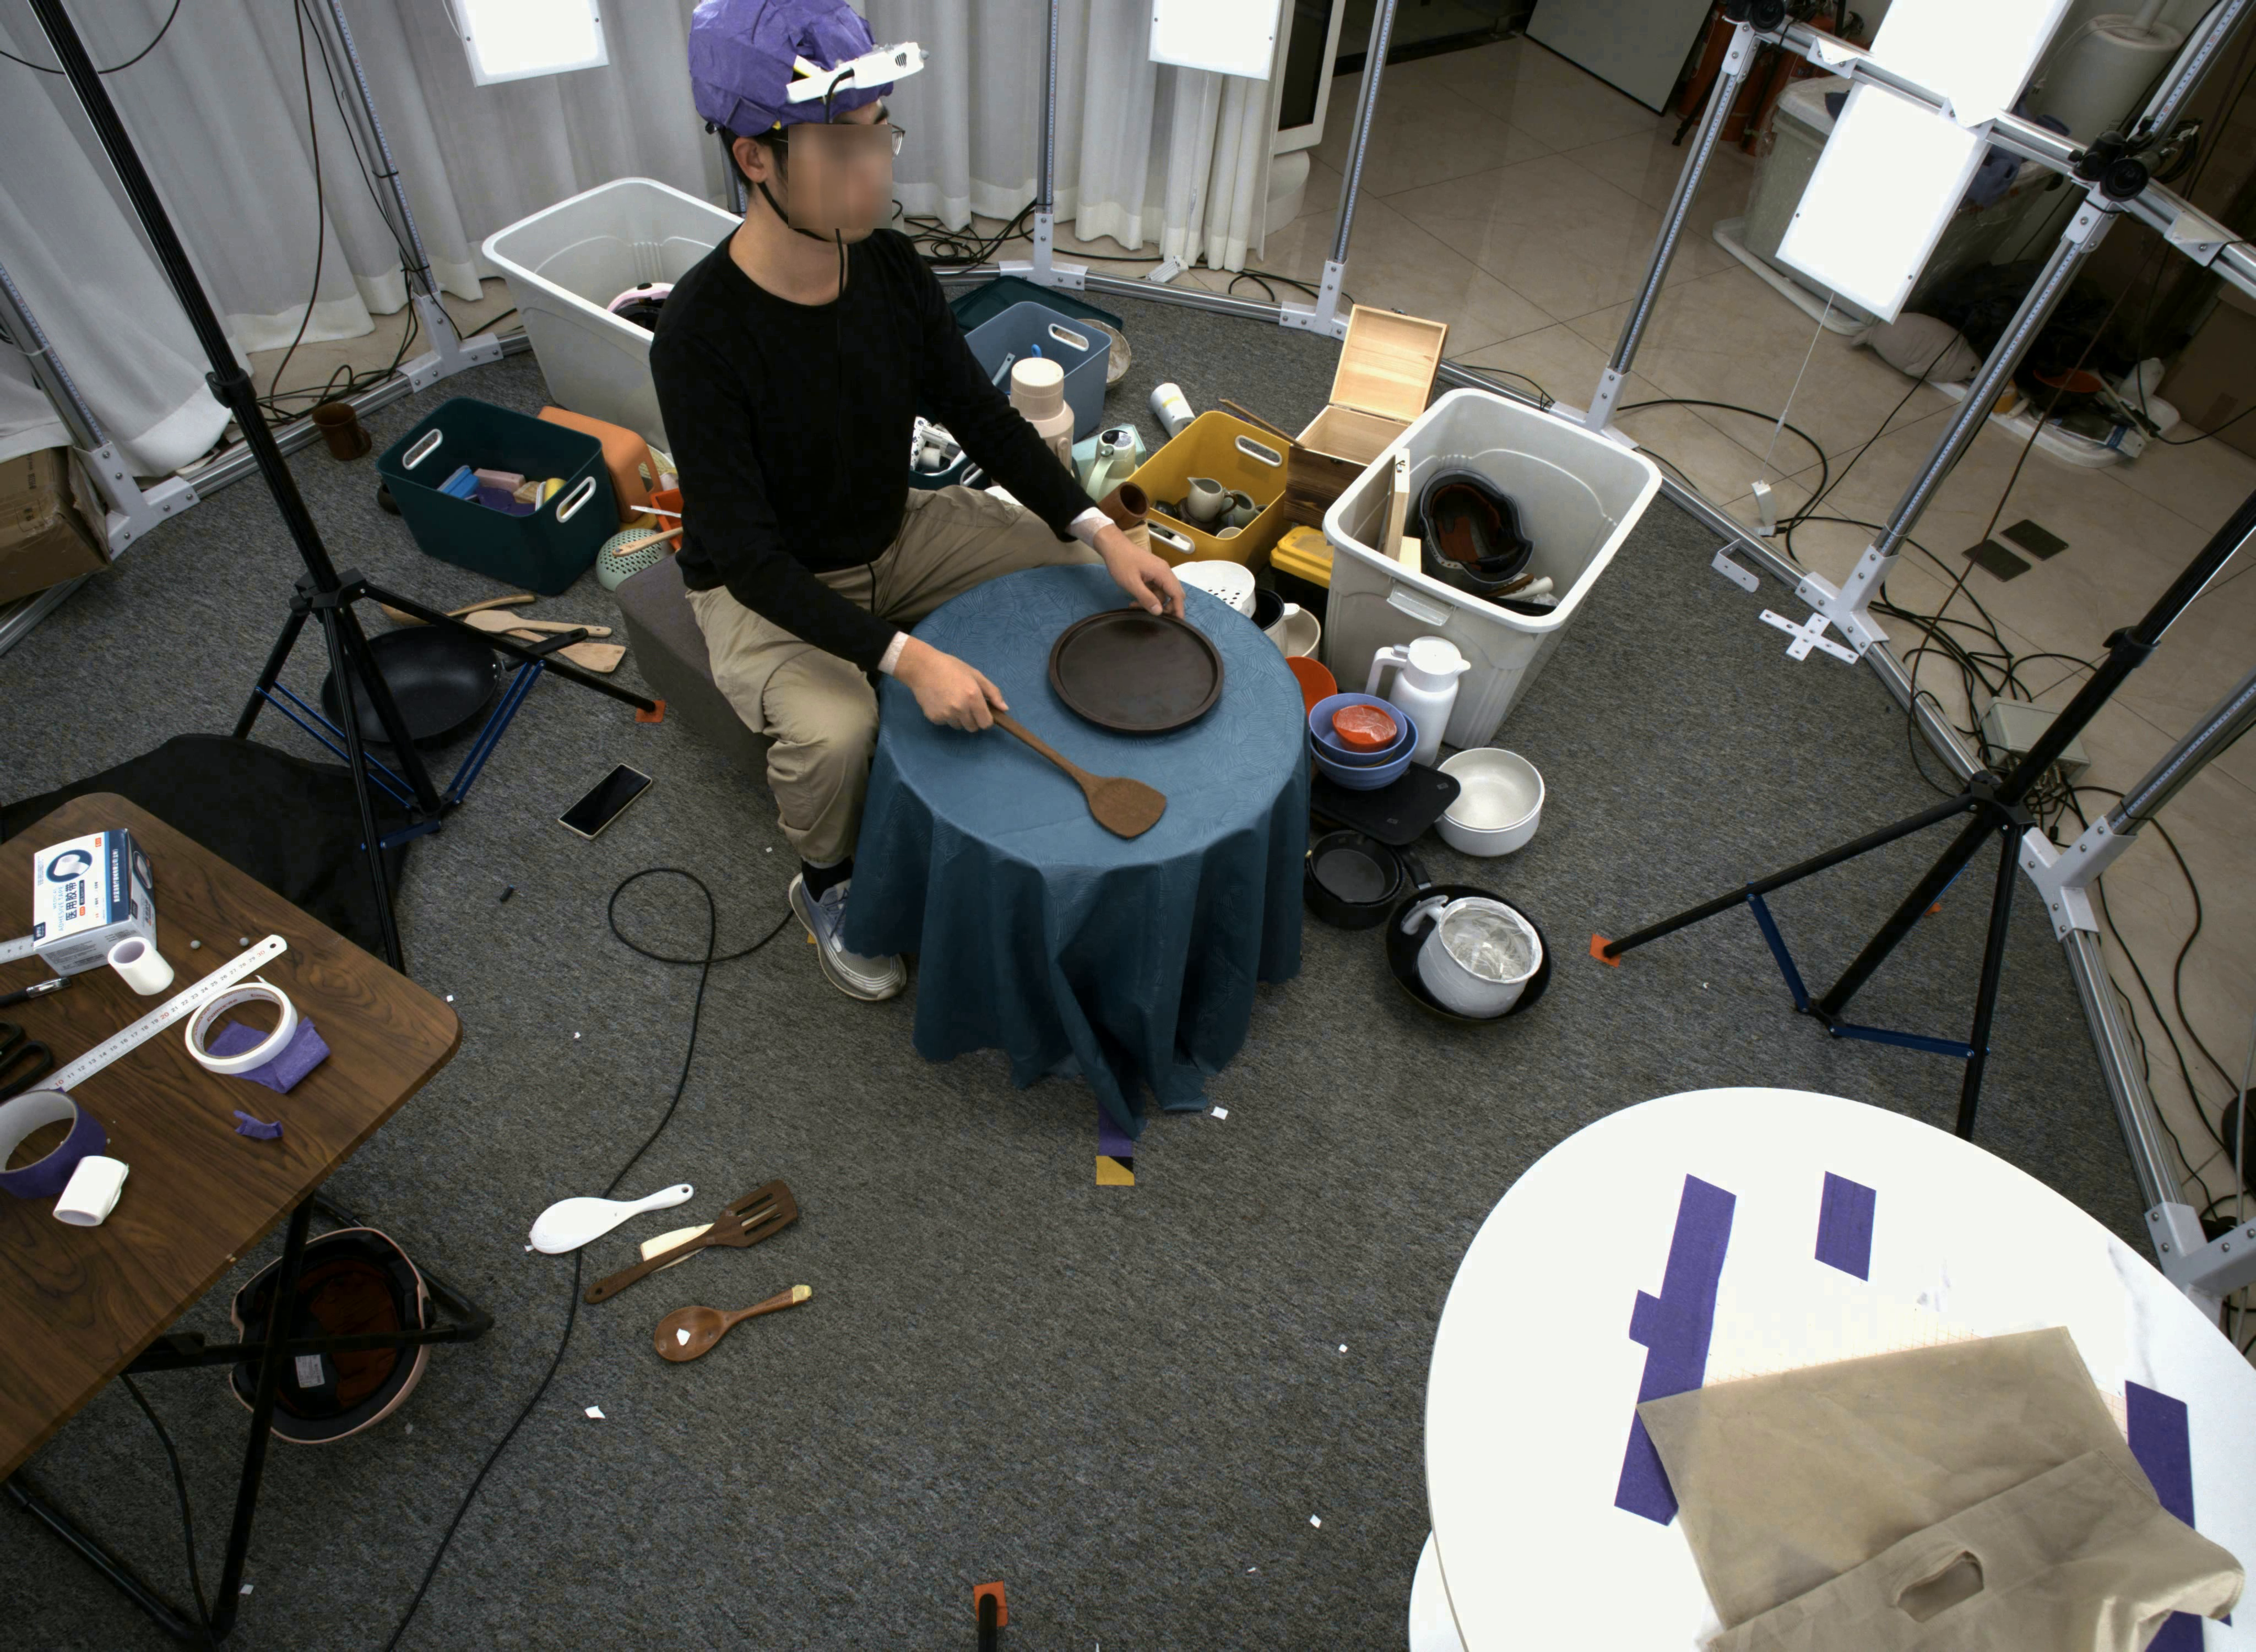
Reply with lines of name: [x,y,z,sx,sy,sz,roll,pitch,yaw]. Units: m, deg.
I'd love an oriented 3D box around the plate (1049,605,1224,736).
plate: [0.012,-0.223,1.848,0.254,0.028,0.261,1,50,-1]

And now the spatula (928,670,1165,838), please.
spatula: [-0.121,-0.108,1.726,0.389,0.015,0.097,35,55,16]
